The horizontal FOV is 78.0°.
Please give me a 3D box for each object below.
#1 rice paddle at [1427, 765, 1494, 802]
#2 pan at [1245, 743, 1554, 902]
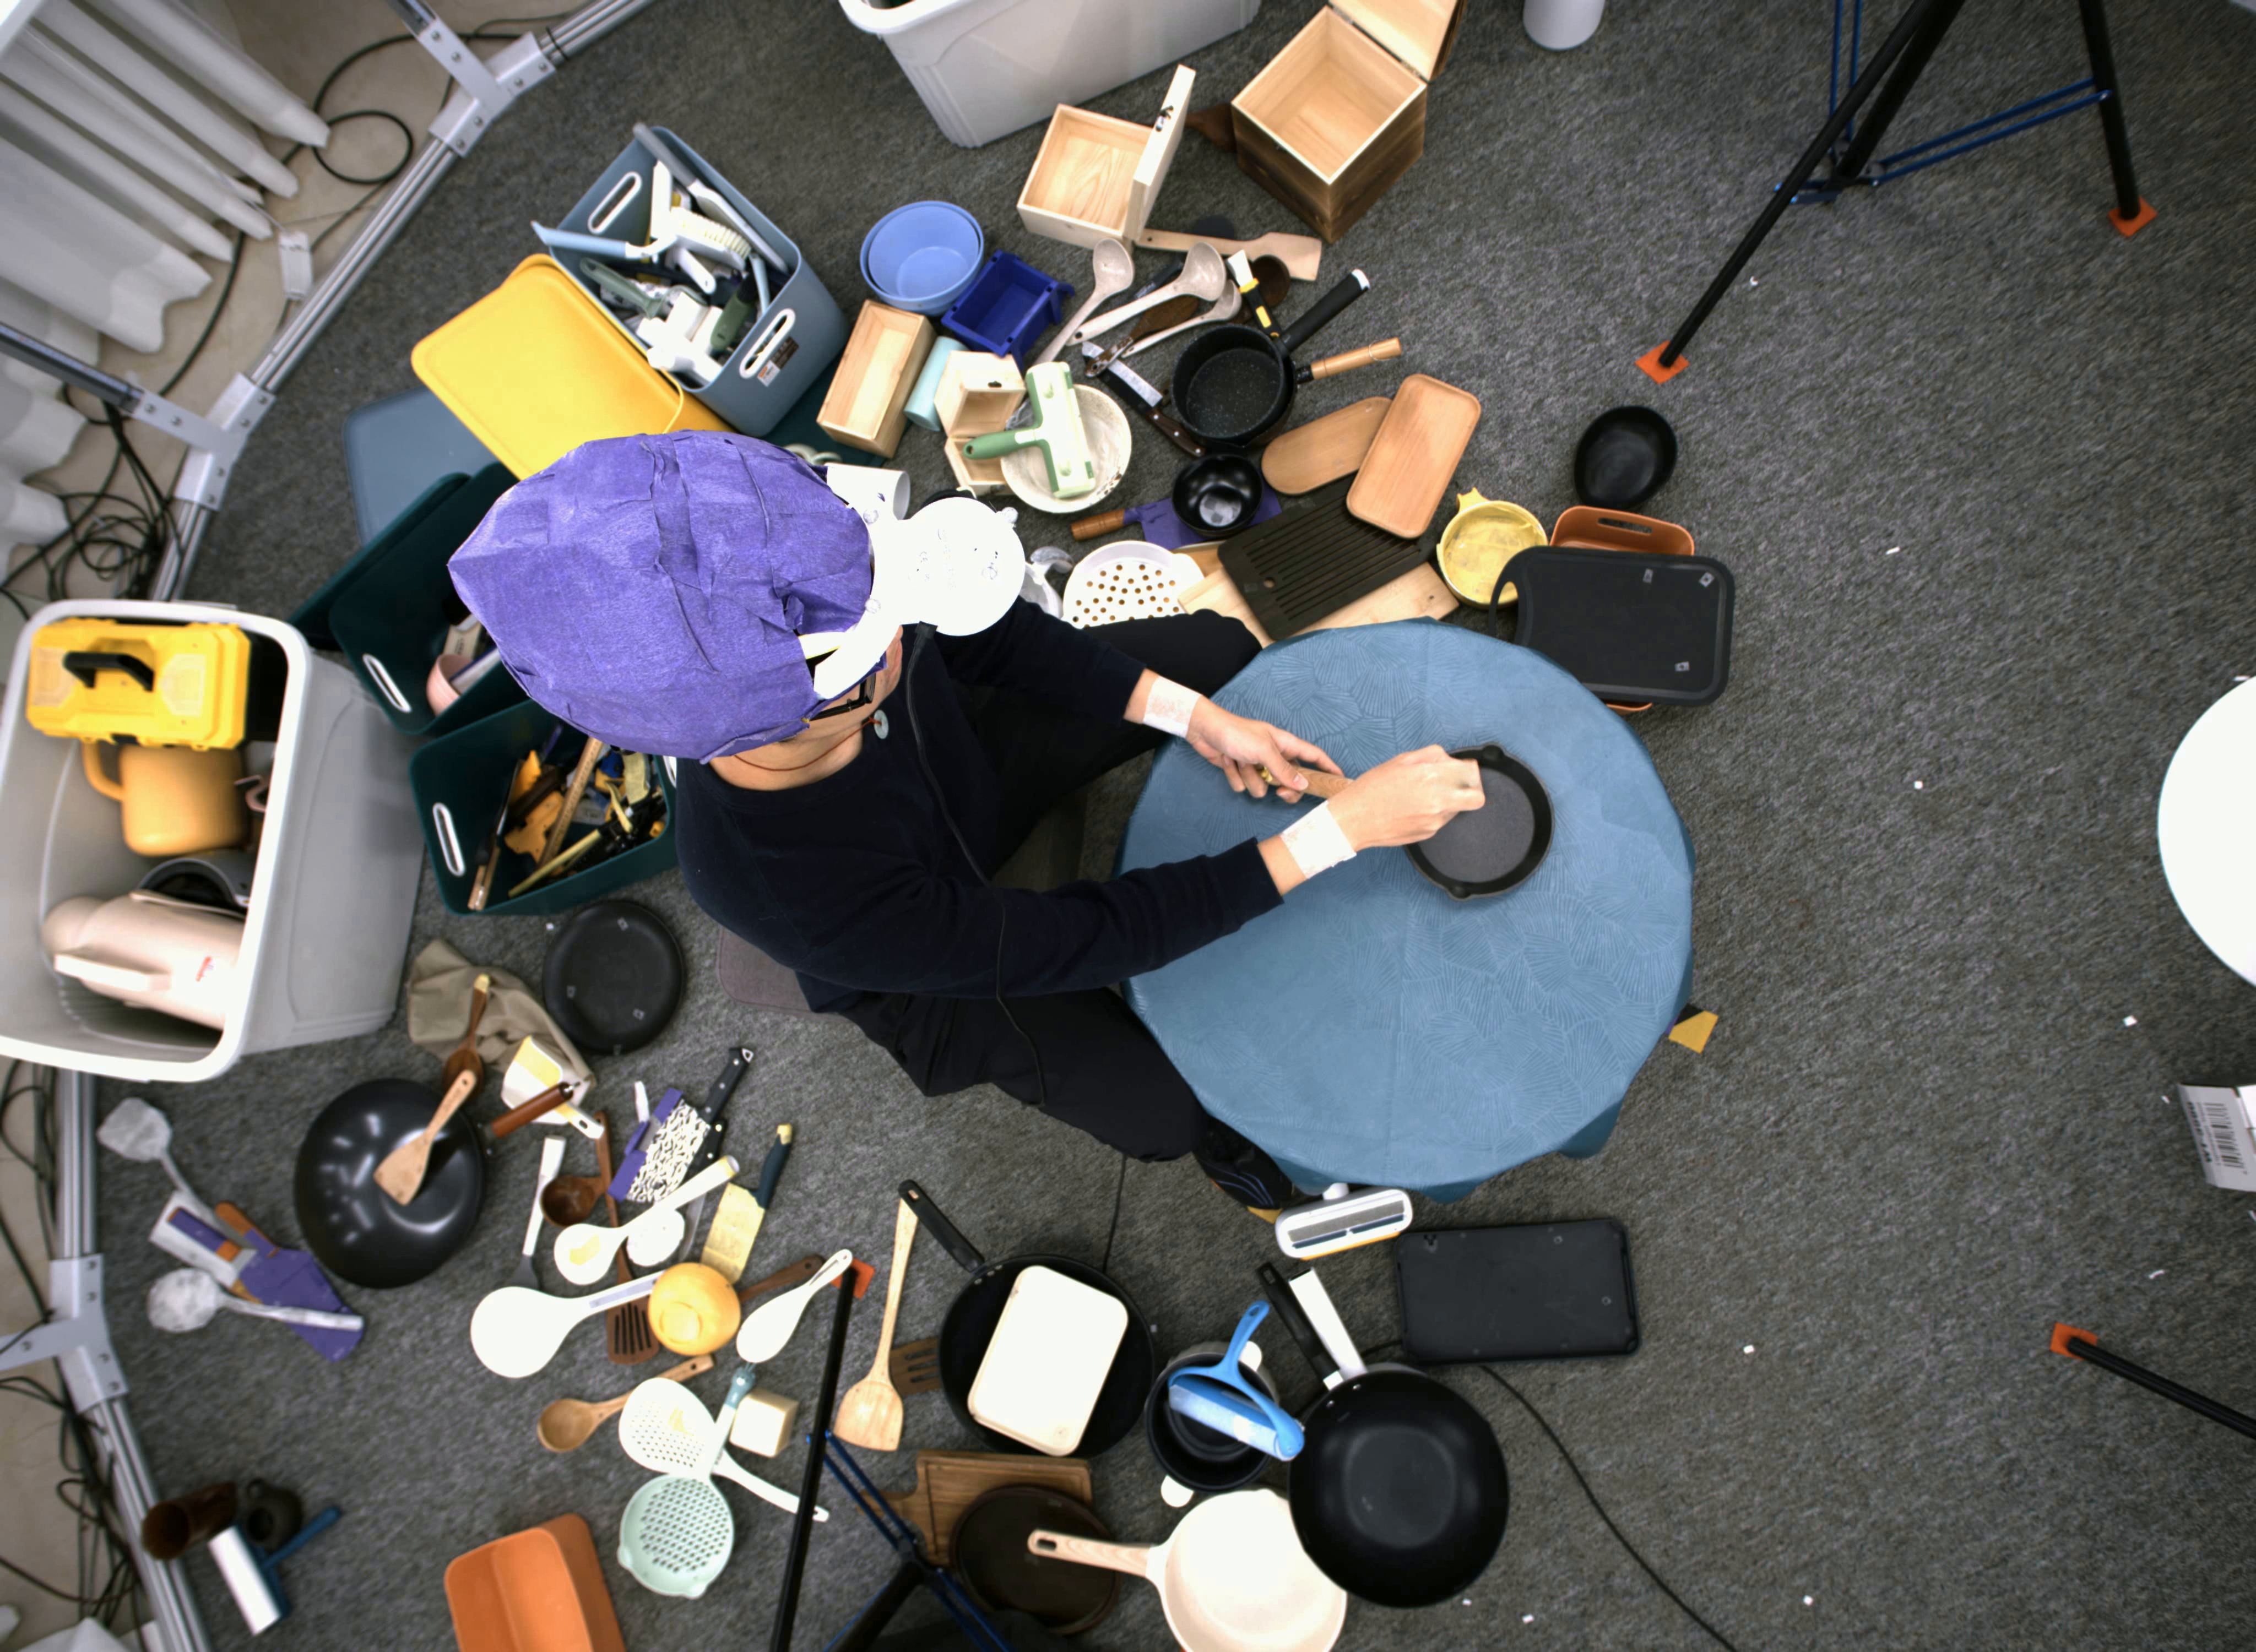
[{"bbox_3d":[0.321,-0.042,1.349,0.069,0.204,0.029,-11,86,18],"label":"rice paddle"},{"bbox_3d":[0.280,-0.028,1.438,0.324,0.049,0.168,16,90,10],"label":"pan"}]
